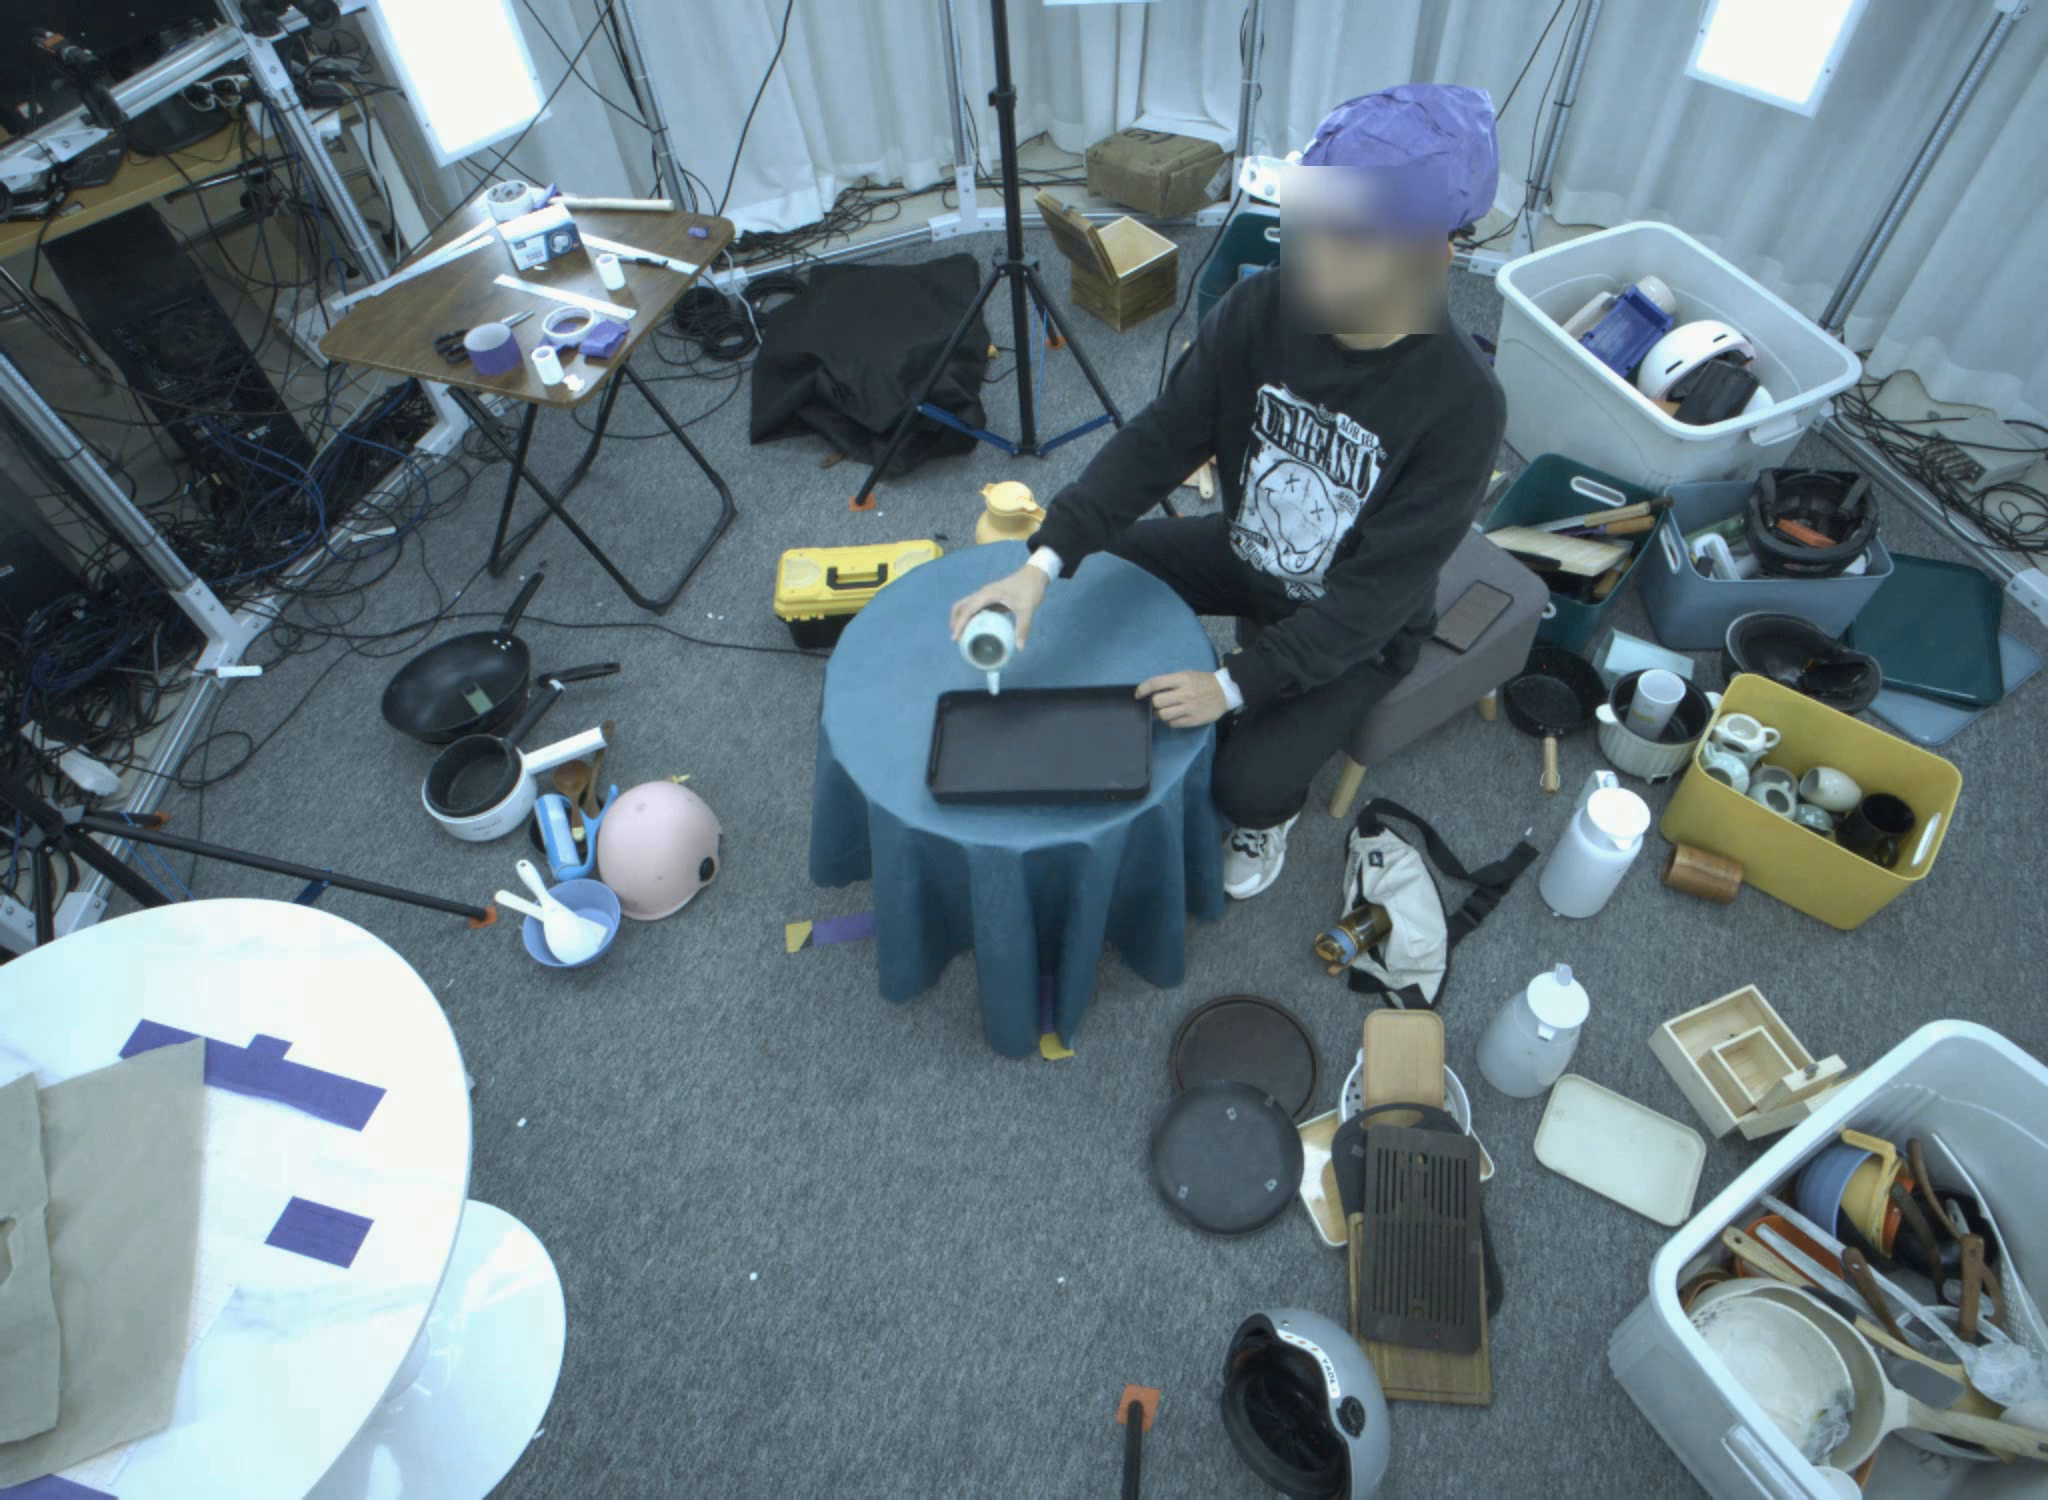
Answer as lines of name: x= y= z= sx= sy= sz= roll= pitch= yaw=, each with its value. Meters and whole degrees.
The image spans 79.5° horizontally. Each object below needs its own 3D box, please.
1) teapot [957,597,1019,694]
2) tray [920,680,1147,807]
teapot: x=-0.052 y=-0.157 z=1.754 sx=0.088 sy=0.145 sz=0.074 roll=-5 pitch=32 yaw=6
tray: x=0.016 y=-0.010 z=1.750 sx=0.316 sy=0.037 sz=0.182 roll=-3 pitch=56 yaw=7
